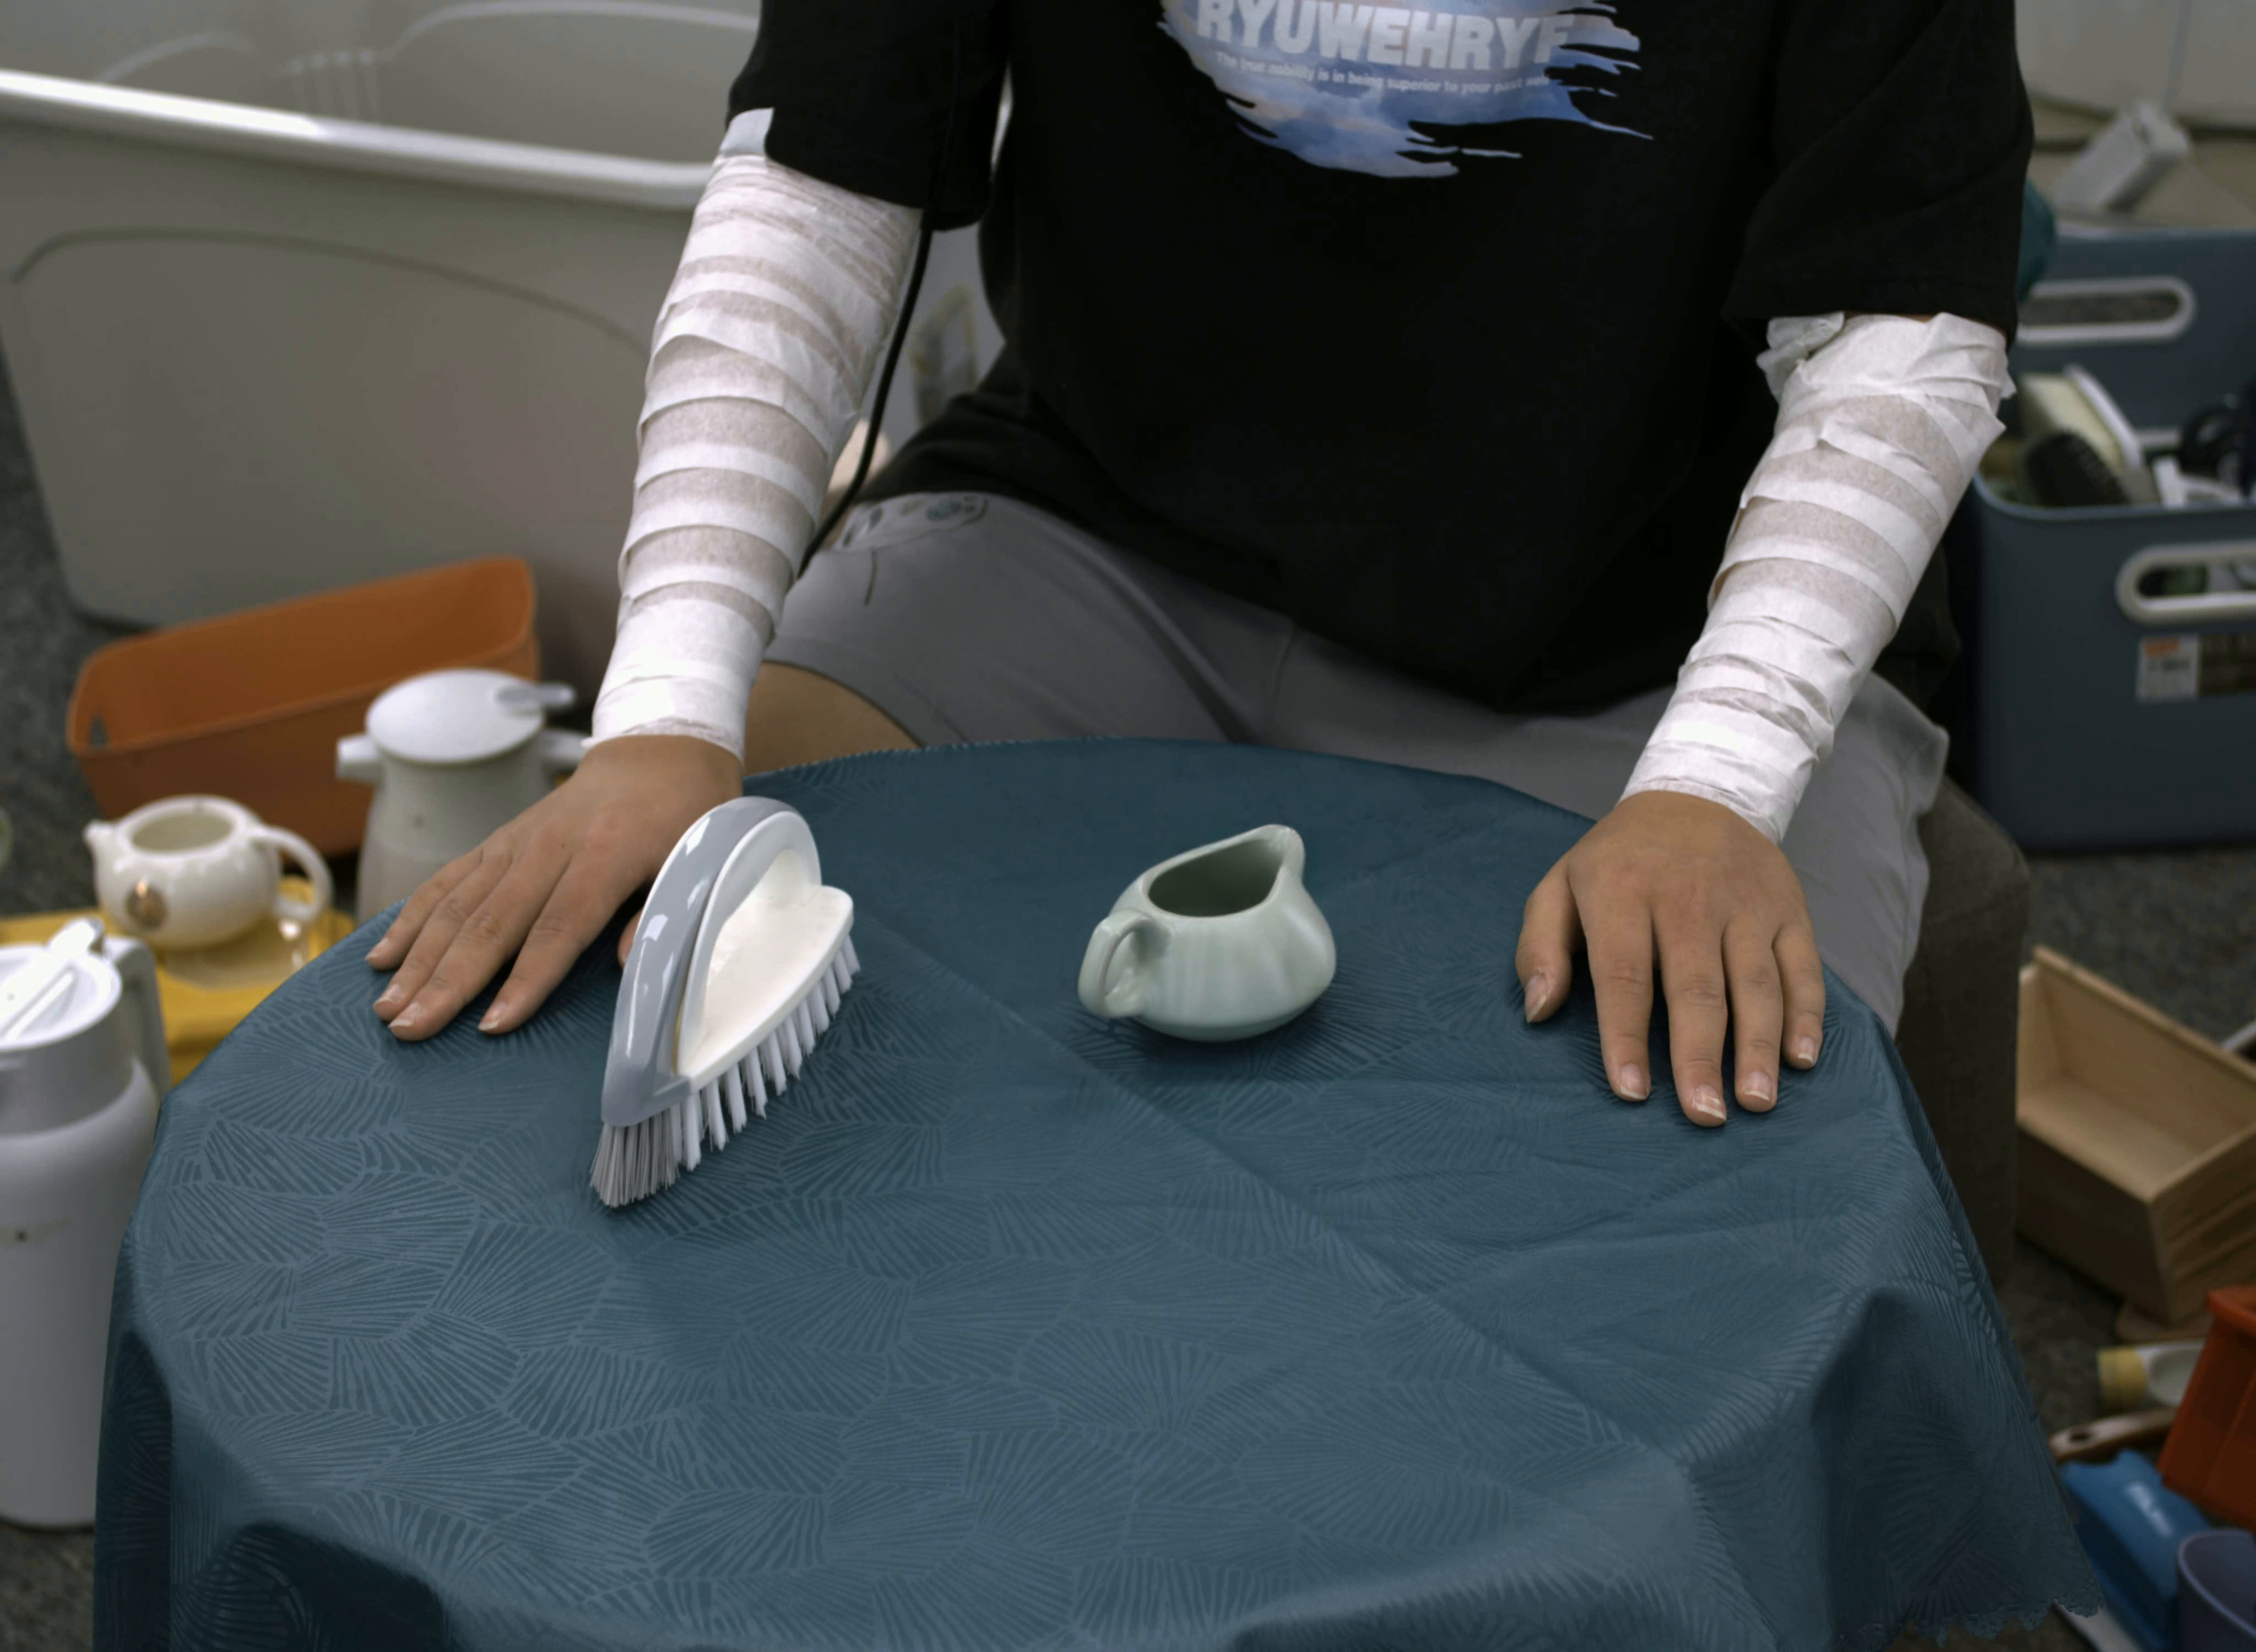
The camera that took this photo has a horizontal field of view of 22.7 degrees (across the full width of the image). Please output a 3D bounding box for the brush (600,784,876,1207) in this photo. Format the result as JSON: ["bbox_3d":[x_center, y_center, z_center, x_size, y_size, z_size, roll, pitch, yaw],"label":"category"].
[{"bbox_3d":[-0.143,0.050,1.917,0.061,0.093,0.178,3,29,19],"label":"brush"}]

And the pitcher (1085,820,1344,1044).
[{"bbox_3d":[0.024,0.044,1.949,0.085,0.060,0.109,17,36,36],"label":"pitcher"}]
